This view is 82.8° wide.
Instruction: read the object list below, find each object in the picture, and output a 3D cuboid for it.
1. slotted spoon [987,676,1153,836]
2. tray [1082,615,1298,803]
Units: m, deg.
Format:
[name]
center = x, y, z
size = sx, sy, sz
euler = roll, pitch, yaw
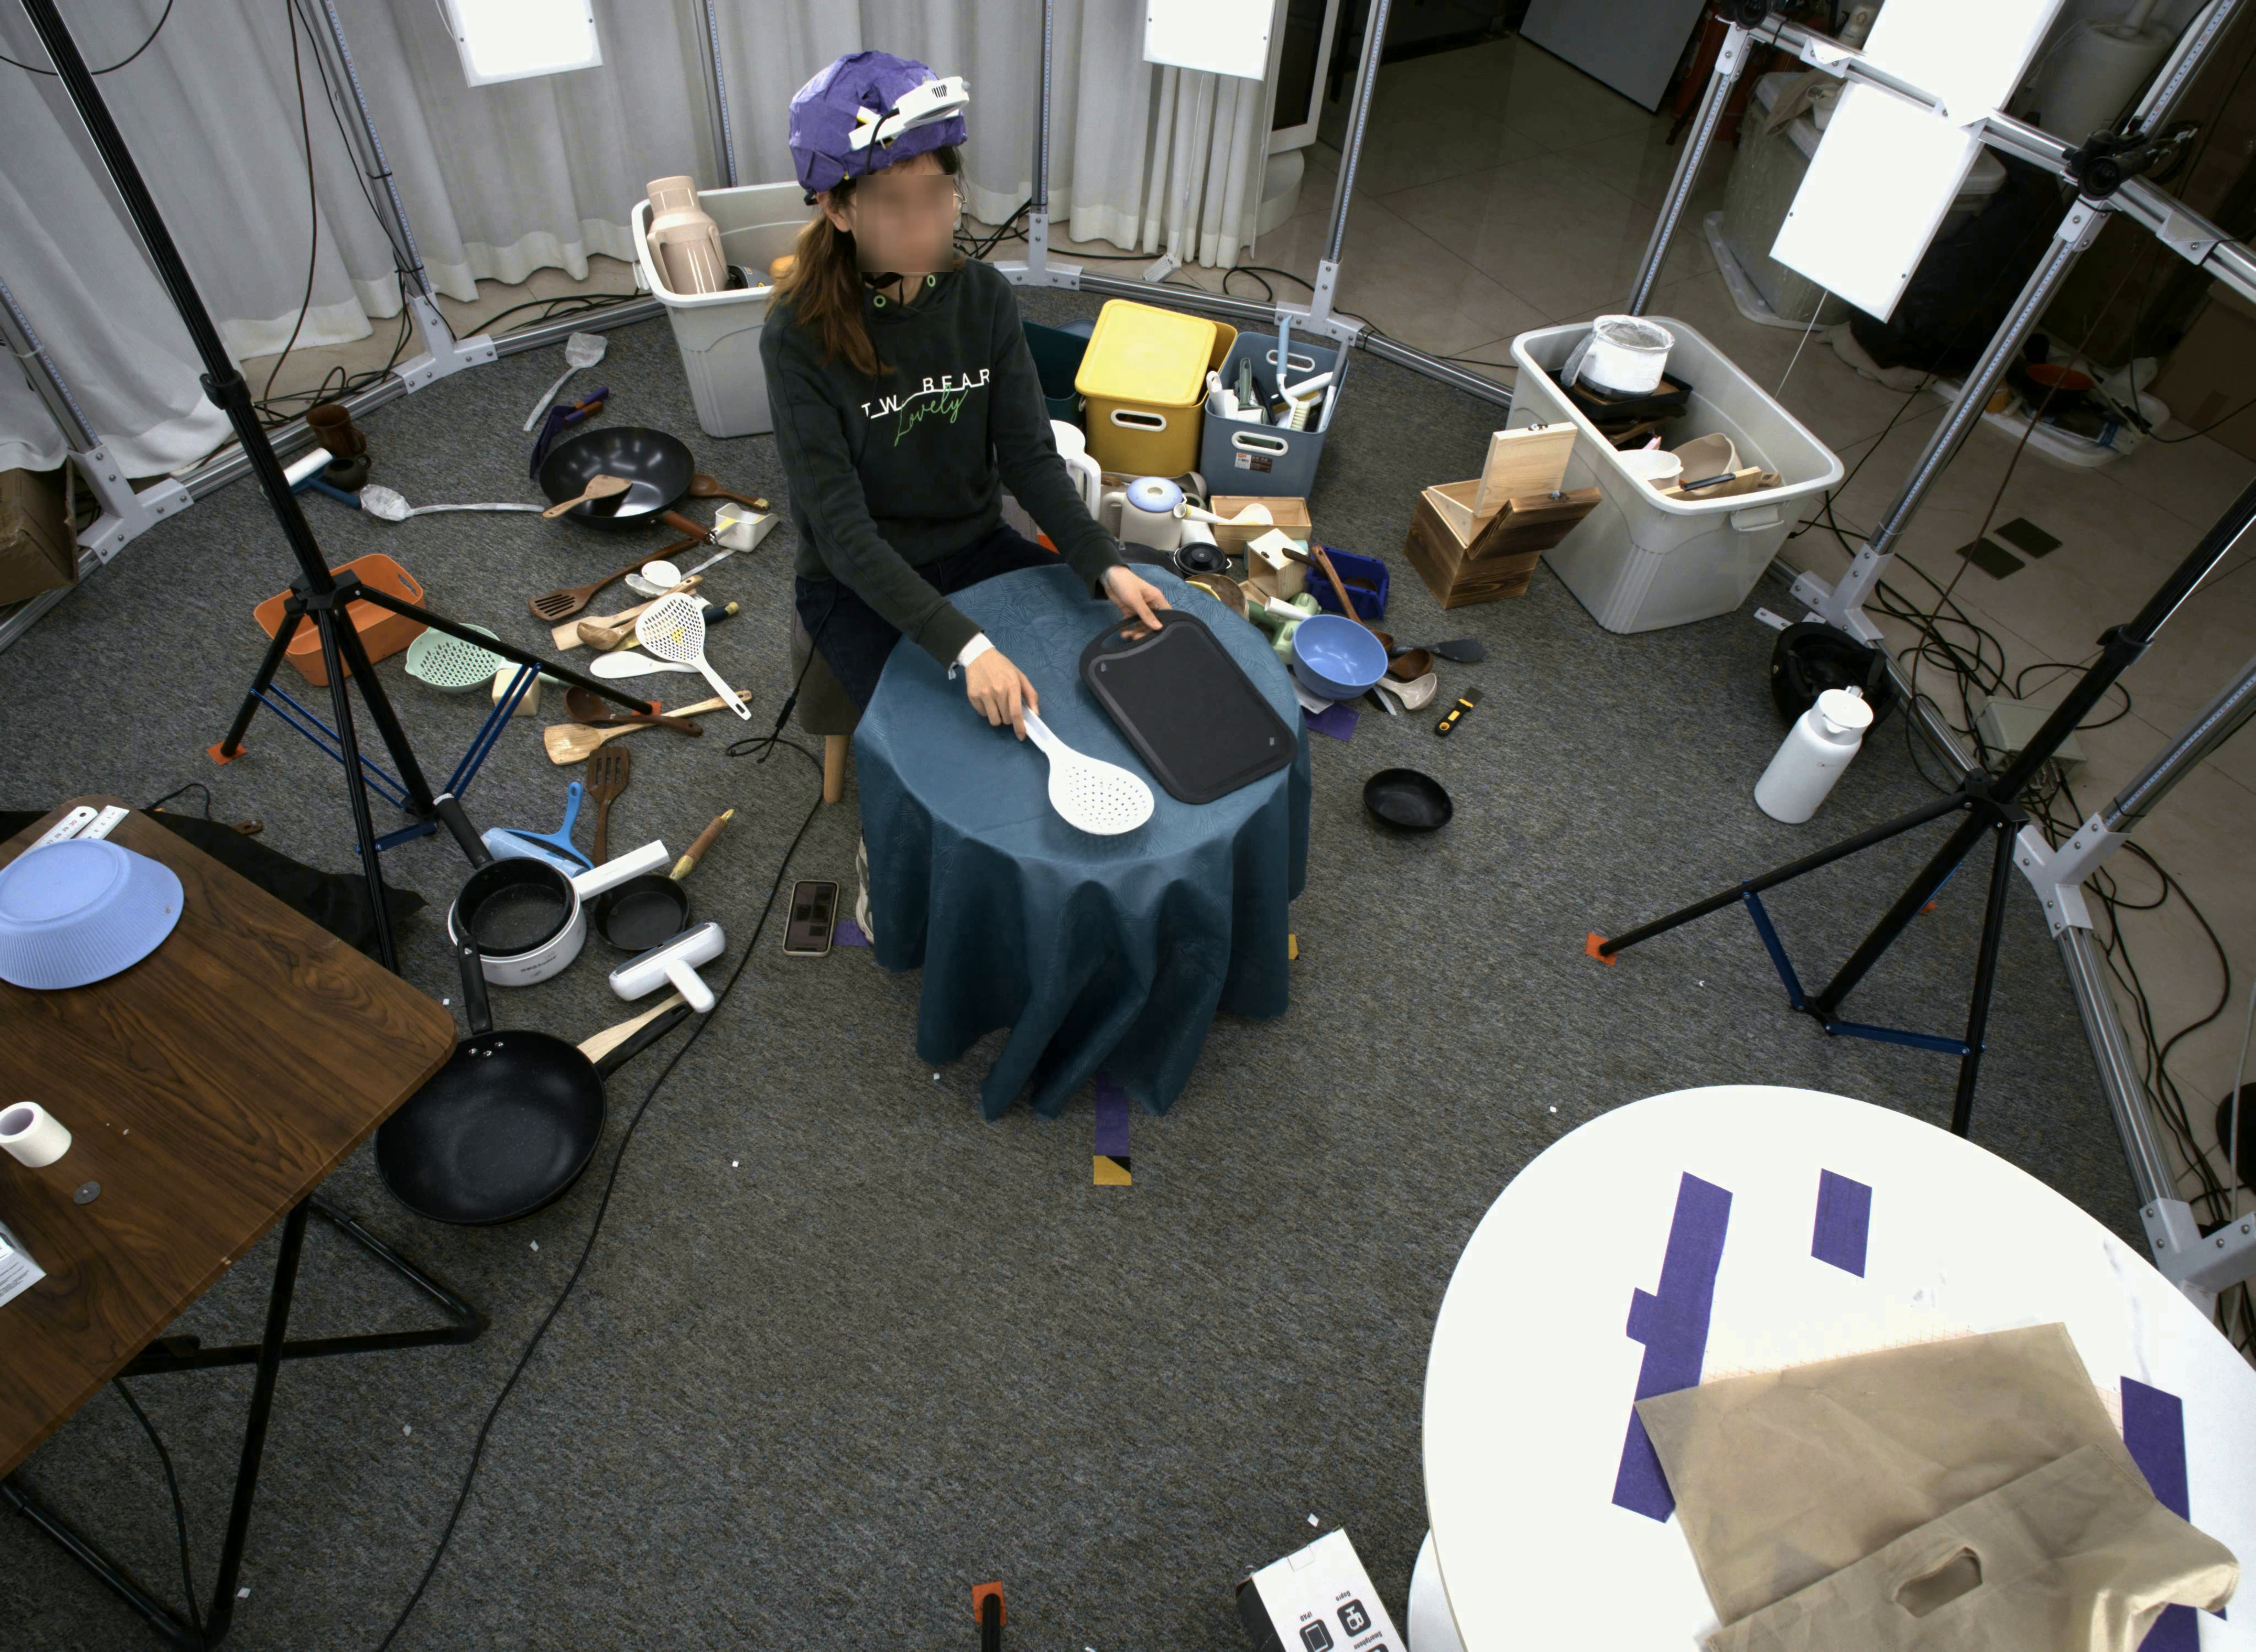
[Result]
[slotted spoon]
center = -0.095, -0.099, 1.728
size = 0.136, 0.045, 0.357
euler = -16, 52, -31
[tray]
center = 0.080, -0.177, 1.814
size = 0.212, 0.009, 0.331
euler = -24, 61, -21
